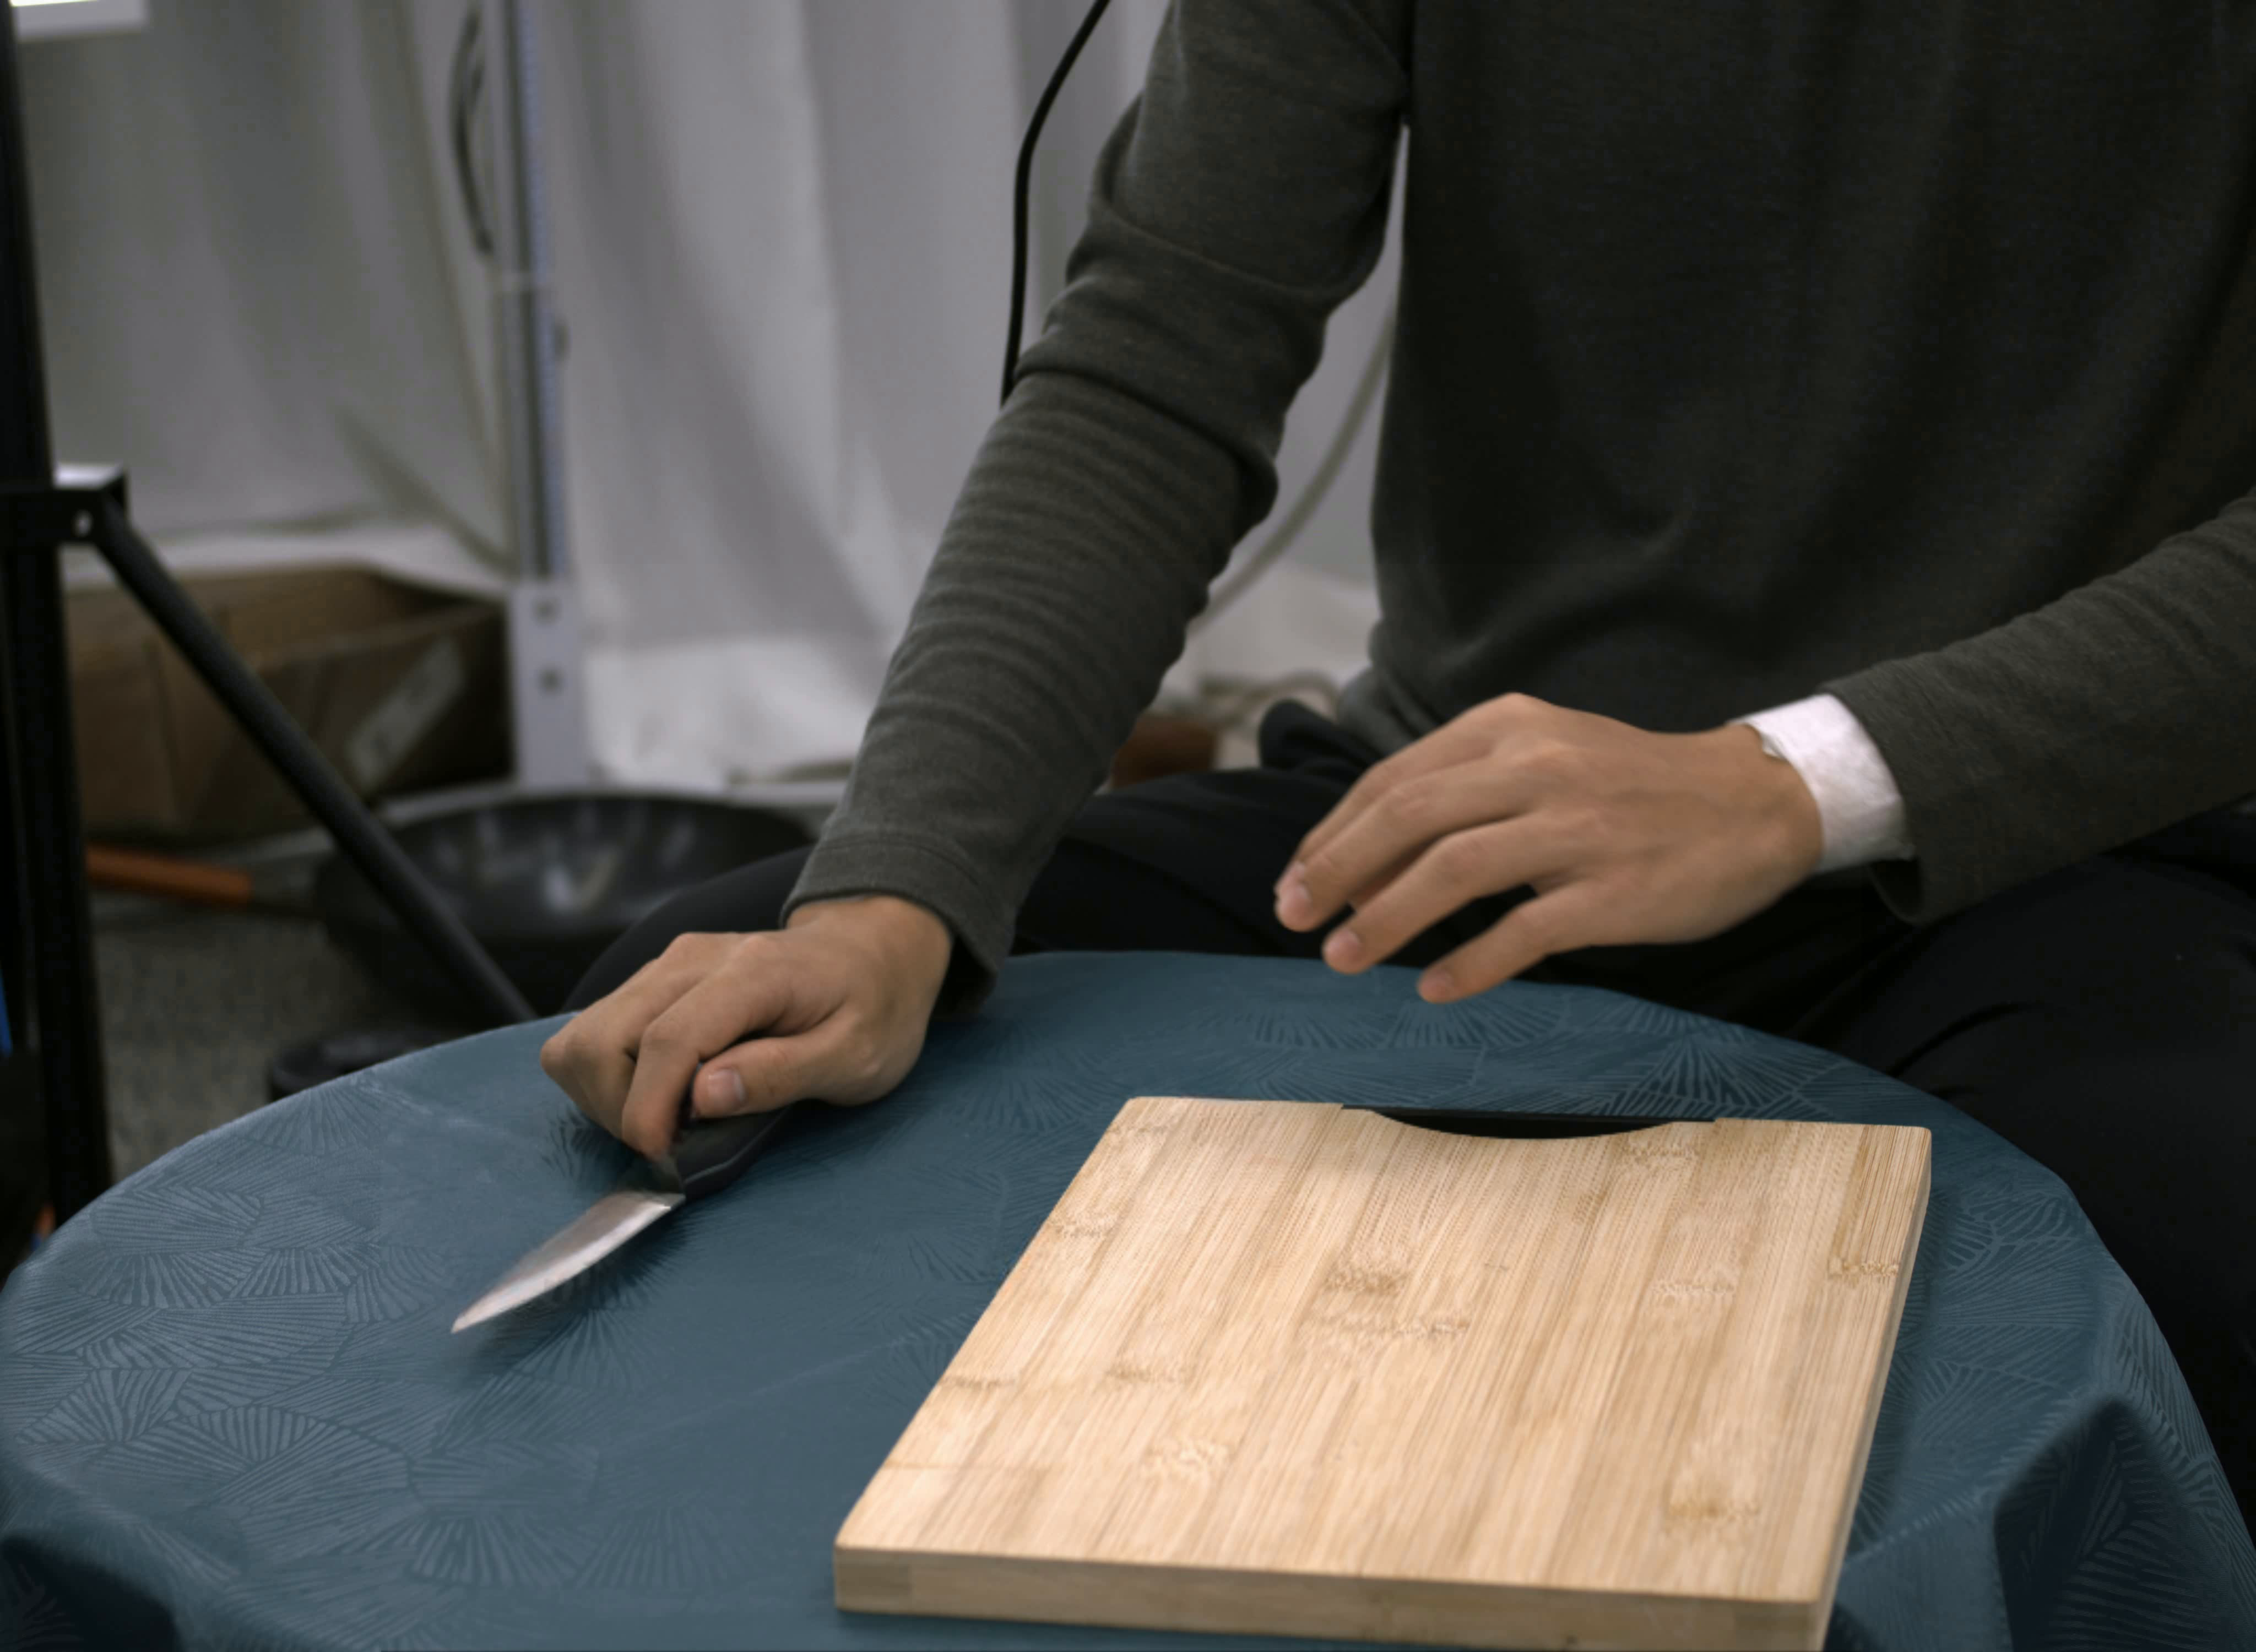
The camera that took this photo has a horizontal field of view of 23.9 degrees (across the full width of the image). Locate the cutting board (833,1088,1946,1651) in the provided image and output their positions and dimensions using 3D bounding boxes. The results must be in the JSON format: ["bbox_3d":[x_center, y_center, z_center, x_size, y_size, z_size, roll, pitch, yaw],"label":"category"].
[{"bbox_3d":[0.083,0.139,1.411,0.252,0.023,0.346,2,16,12],"label":"cutting board"}]

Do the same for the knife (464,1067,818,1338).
[{"bbox_3d":[-0.142,0.109,1.546,0.025,0.016,0.235,0,14,19],"label":"knife"}]
